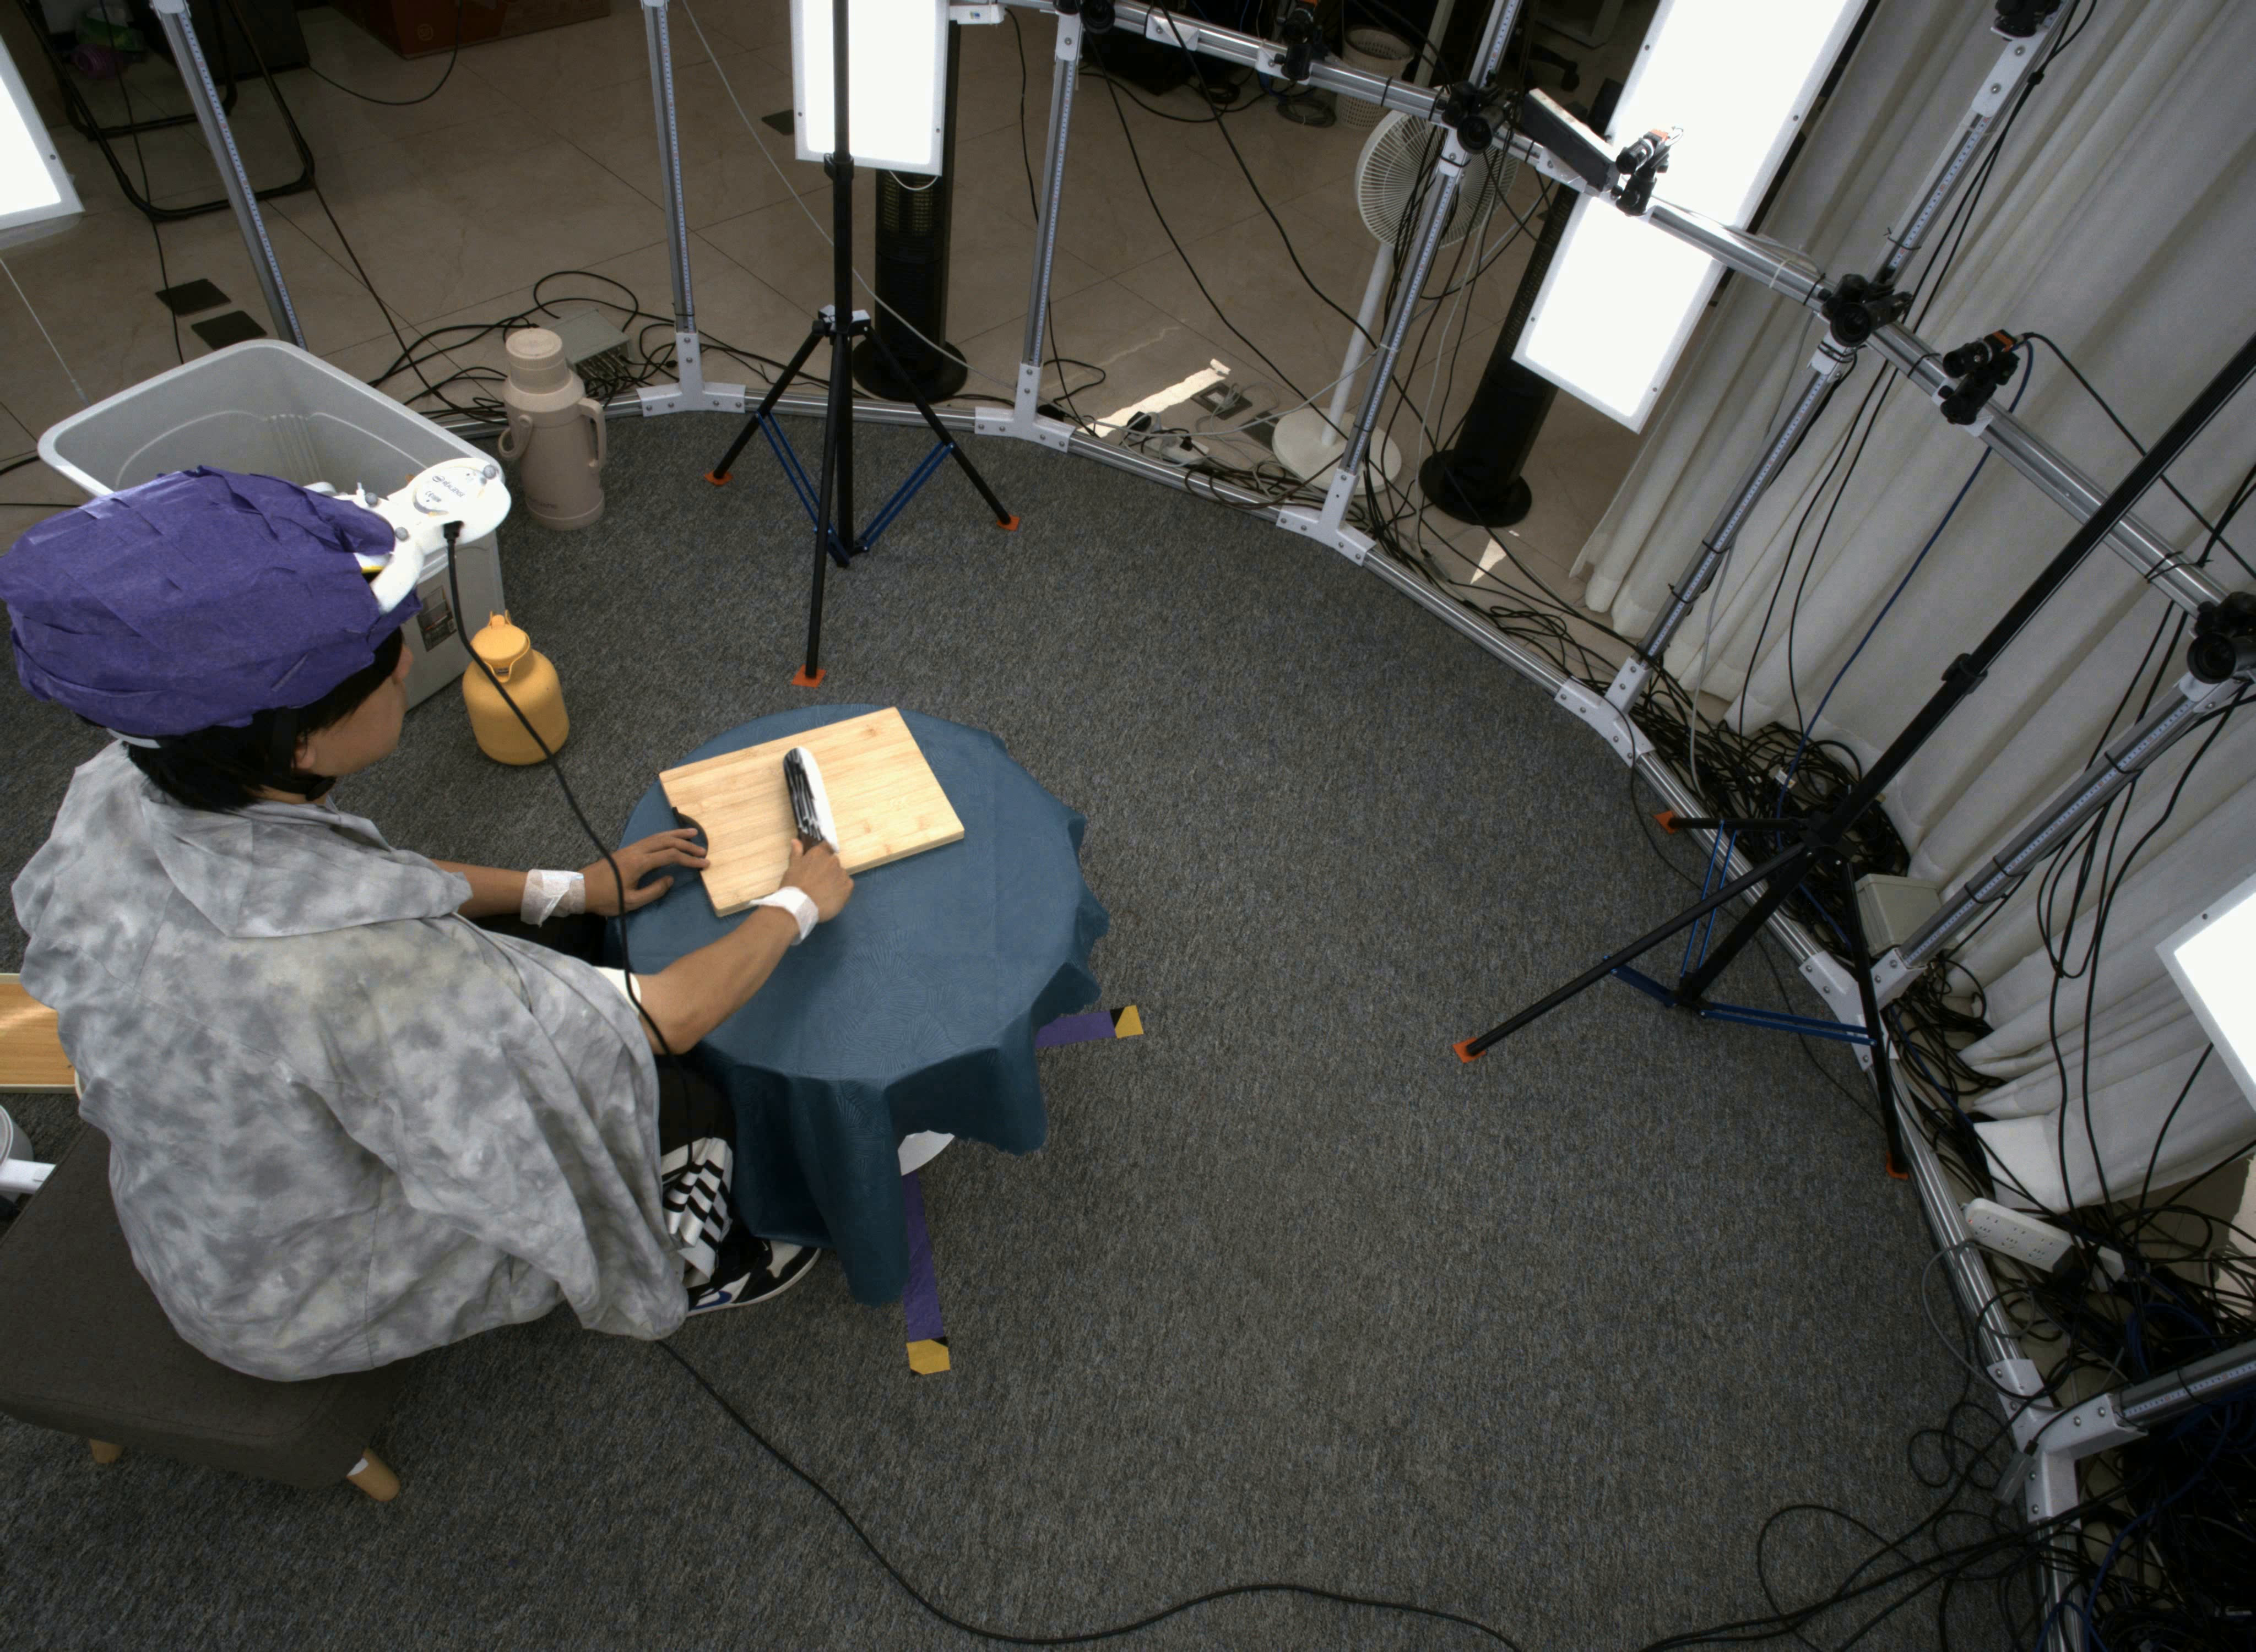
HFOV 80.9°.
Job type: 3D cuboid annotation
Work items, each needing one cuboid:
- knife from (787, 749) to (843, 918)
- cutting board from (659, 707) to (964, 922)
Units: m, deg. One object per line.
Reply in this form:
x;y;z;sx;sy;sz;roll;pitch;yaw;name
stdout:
-0.399;0.002;1.676;0.070;0.024;0.291;26;33;-48;knife
-0.421;-0.025;1.736;0.350;0.024;0.244;-20;61;-26;cutting board
